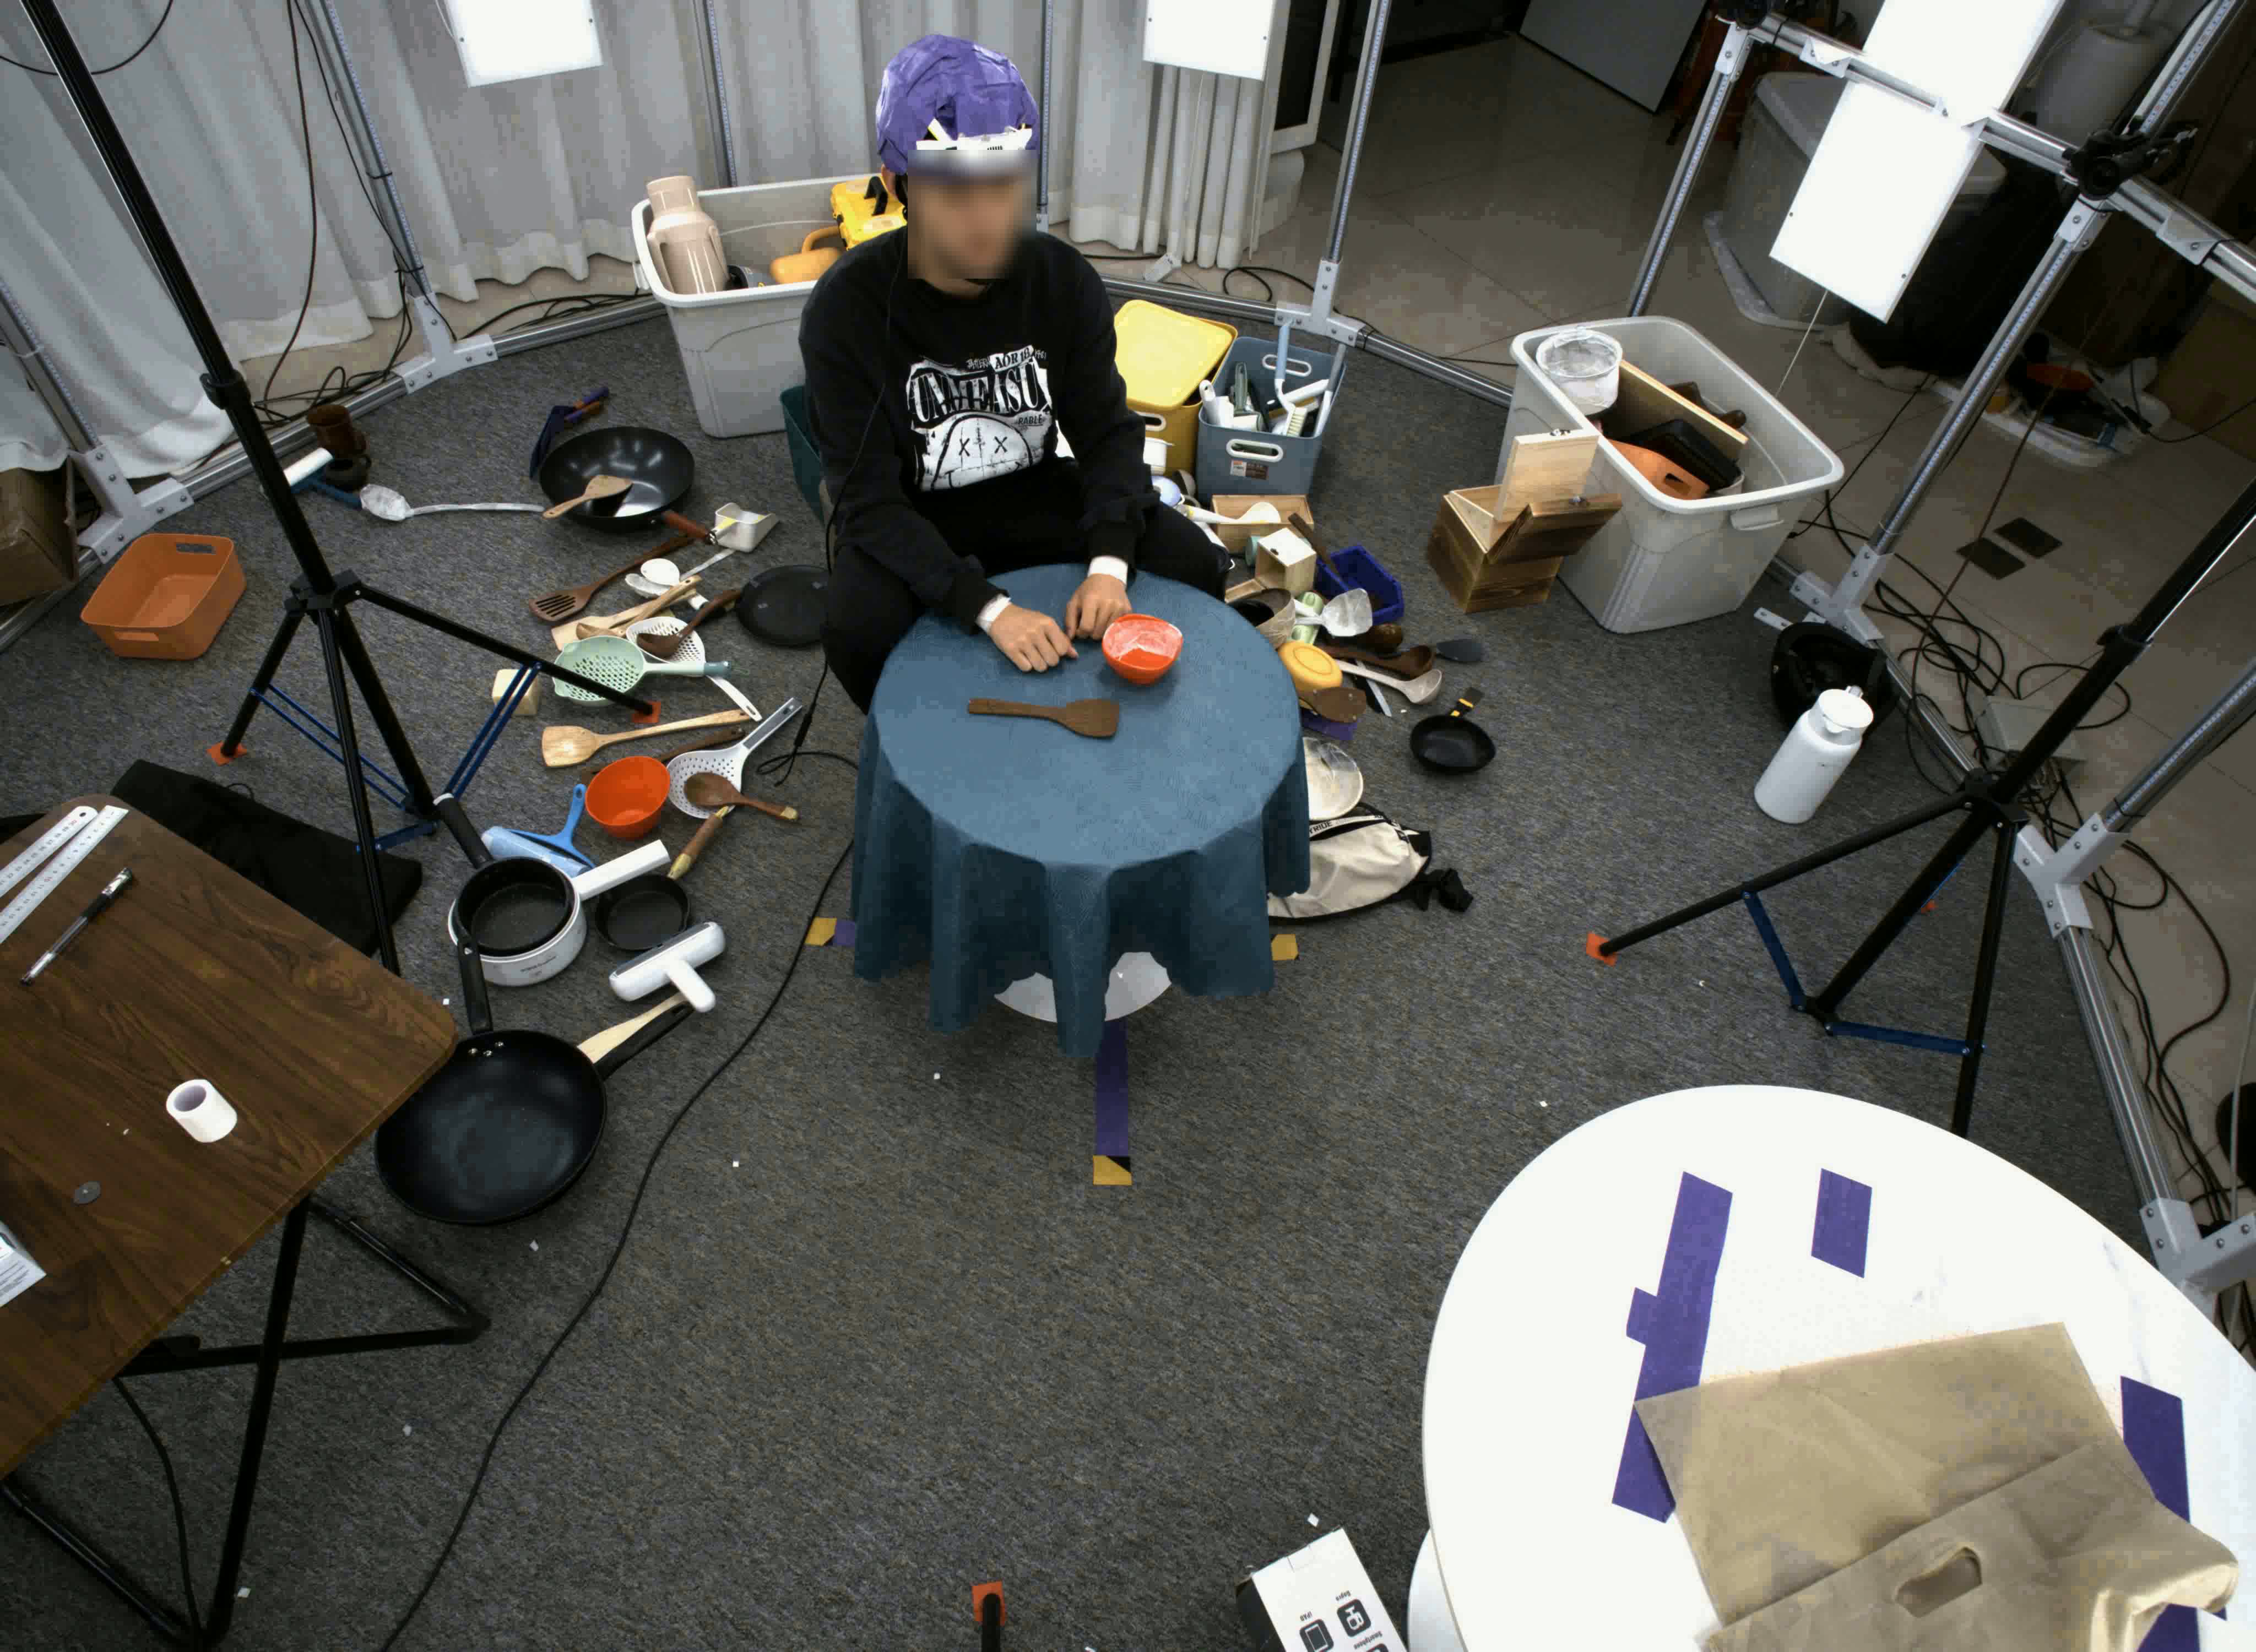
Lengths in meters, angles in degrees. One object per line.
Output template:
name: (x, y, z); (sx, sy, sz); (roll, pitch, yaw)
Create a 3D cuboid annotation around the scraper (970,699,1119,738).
scraper: (-0.118, -0.159, 1.810); (0.211, 0.010, 0.077); (6, 48, 2)

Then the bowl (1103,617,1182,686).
bowl: (0.020, -0.248, 1.871); (0.119, 0.050, 0.122); (1, 50, -2)
